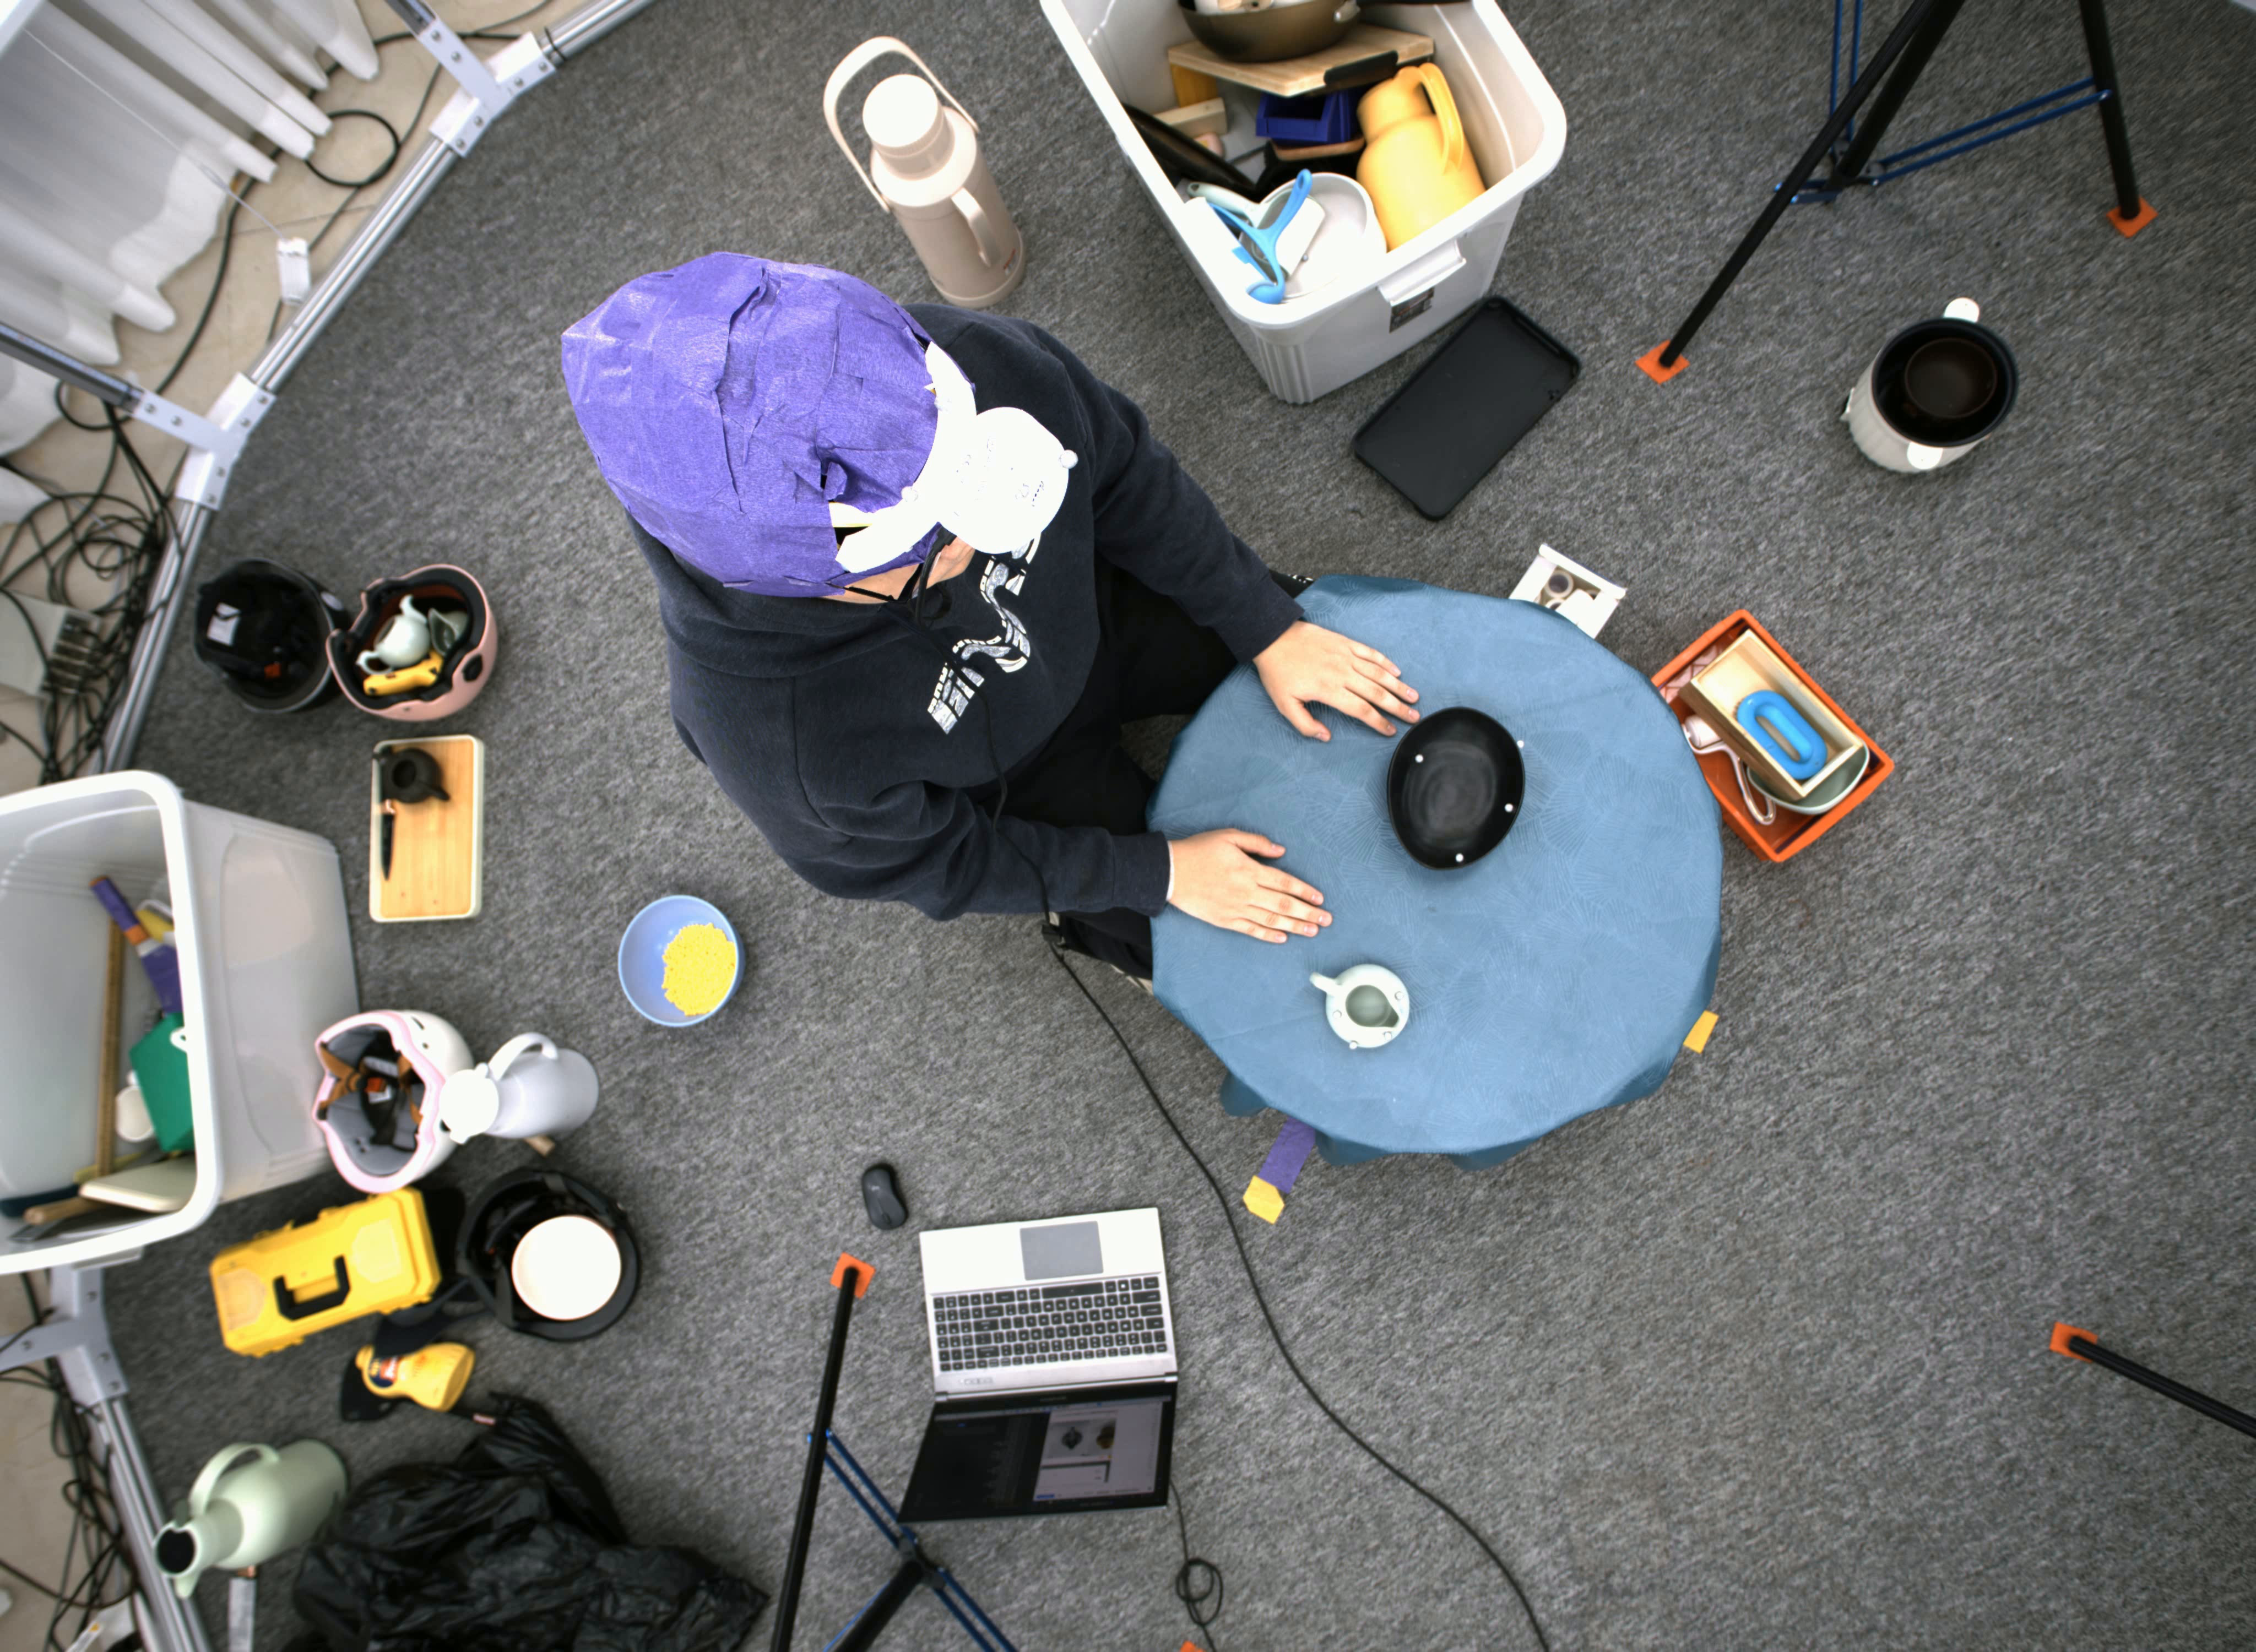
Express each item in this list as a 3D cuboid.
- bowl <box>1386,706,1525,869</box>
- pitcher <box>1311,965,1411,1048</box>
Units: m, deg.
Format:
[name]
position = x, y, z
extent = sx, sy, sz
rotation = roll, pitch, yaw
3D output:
[bowl]
position = 0.337, -0.039, 1.423
extent = 0.137, 0.066, 0.170
rotation = 12, 89, 12
[pitcher]
position = 0.239, 0.180, 1.432
extent = 0.108, 0.060, 0.086
rotation = 26, 90, 13
